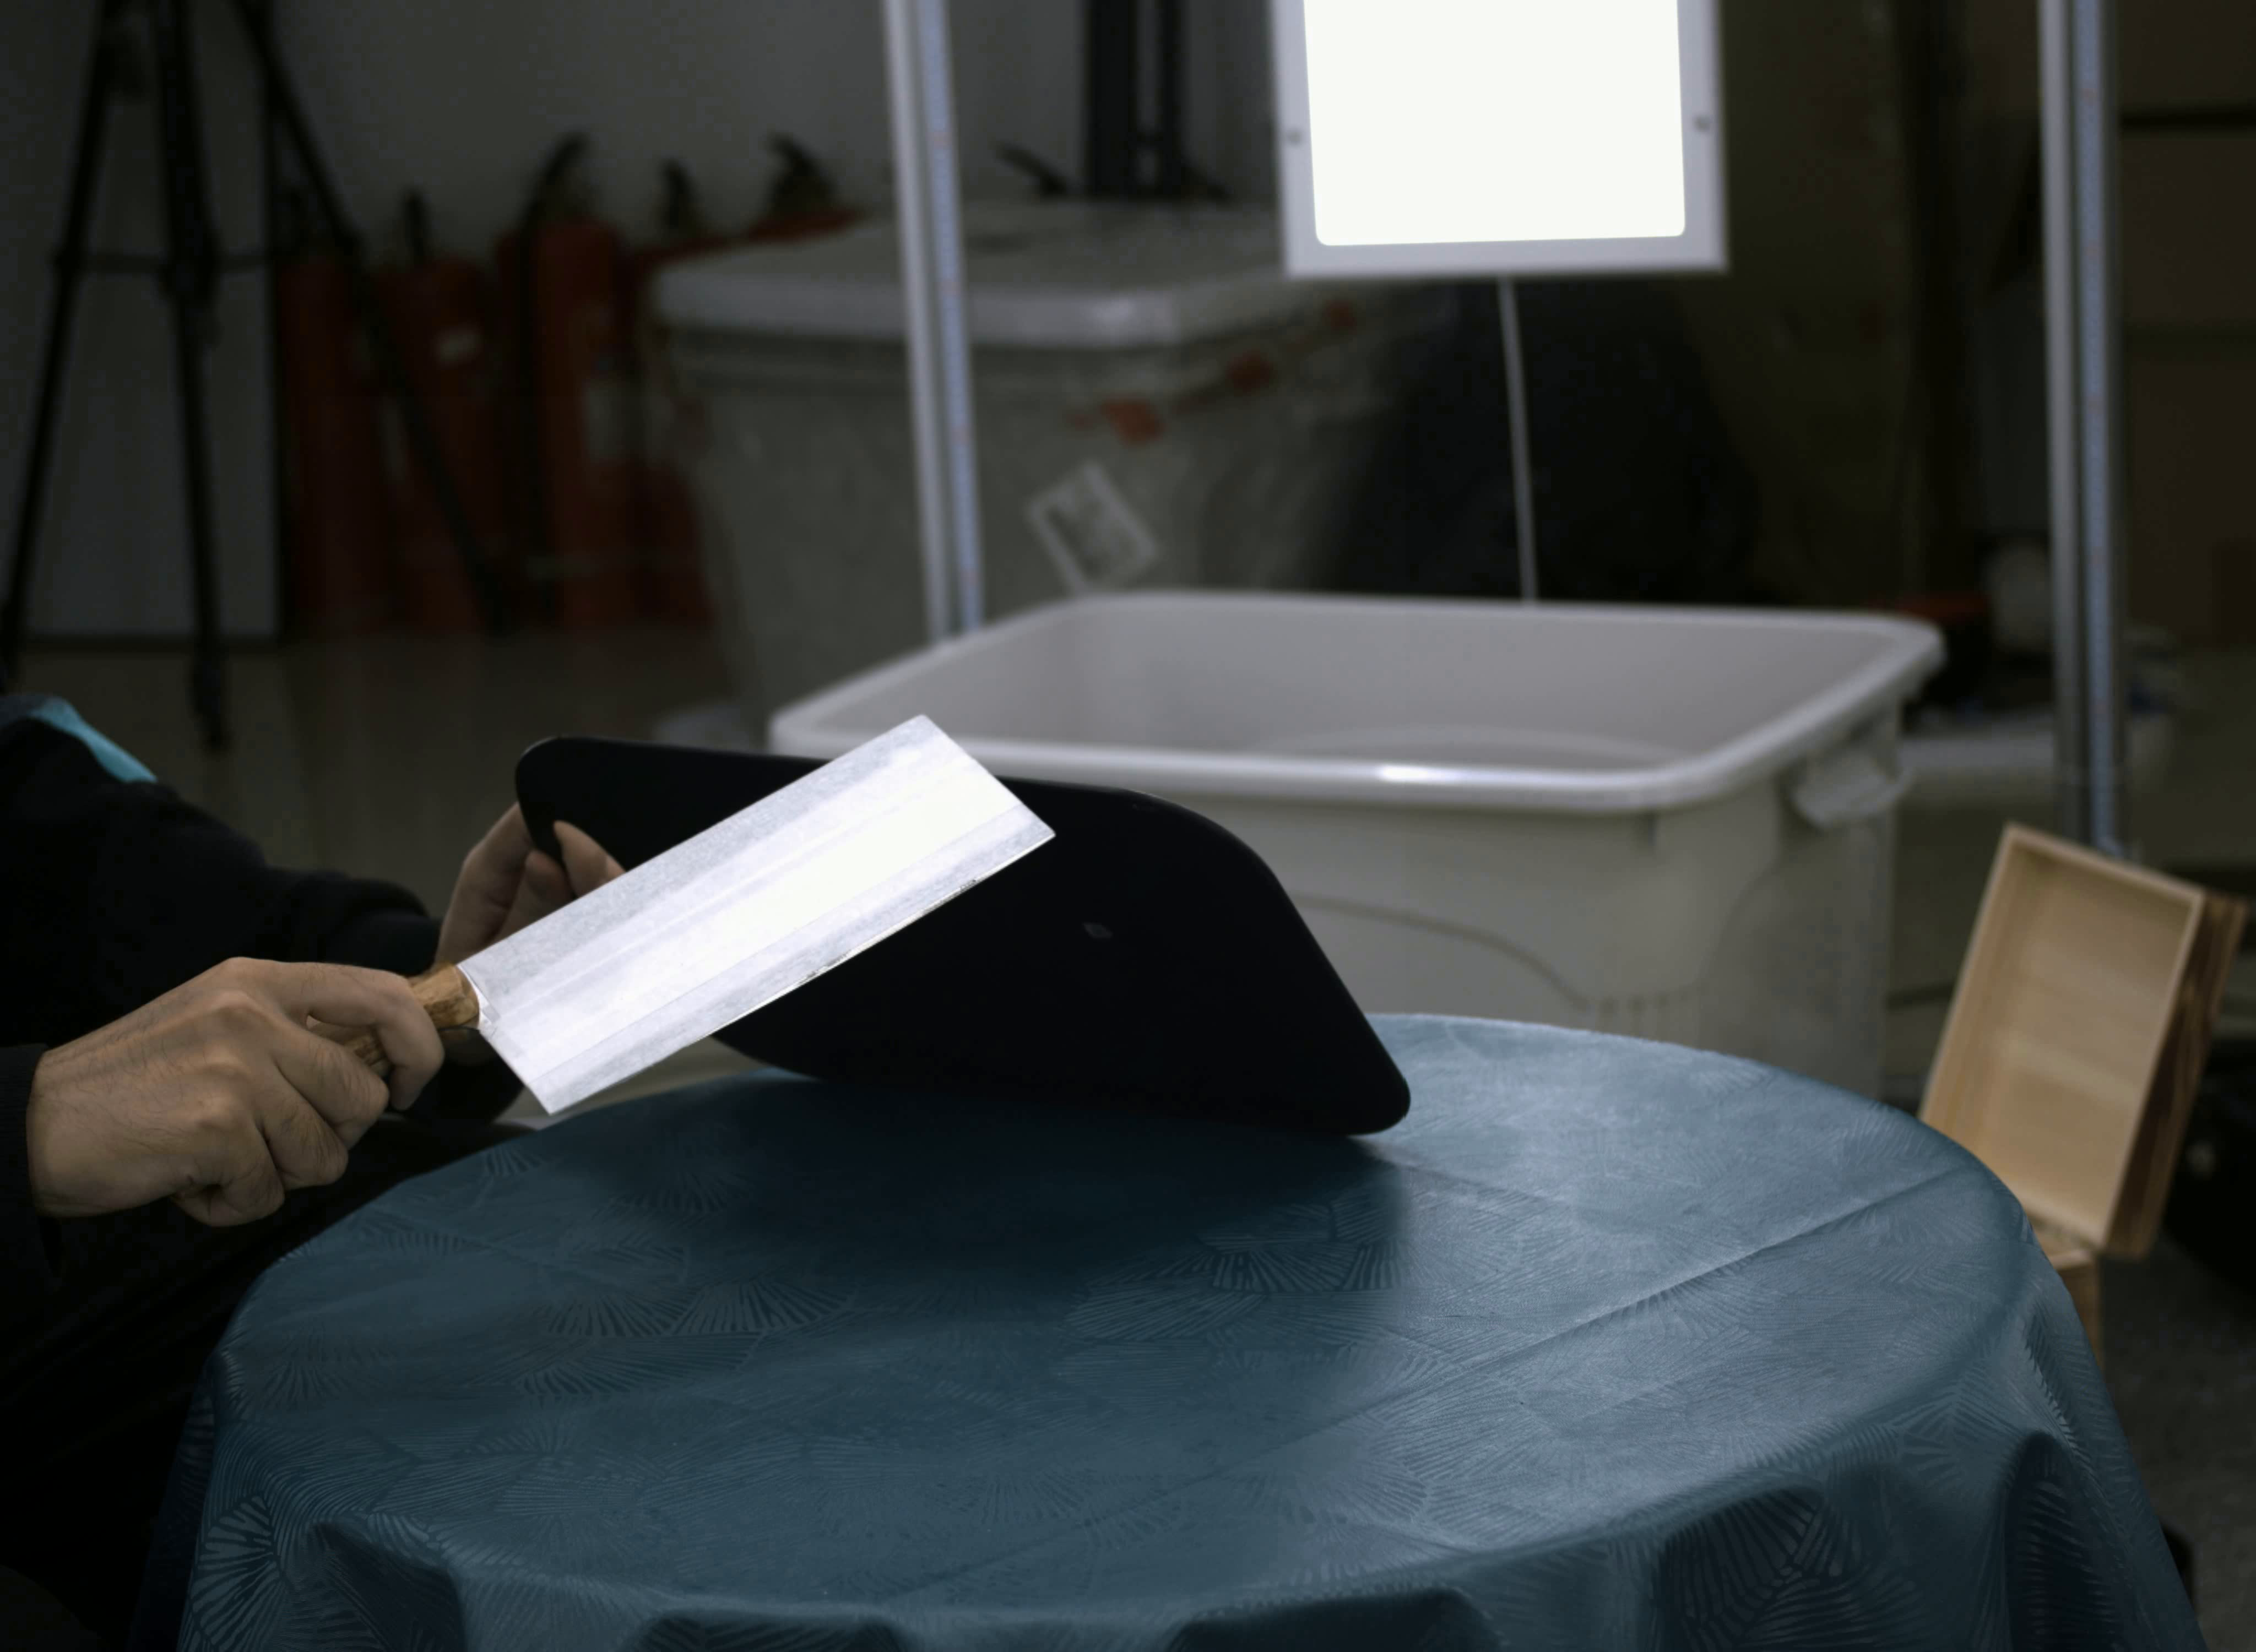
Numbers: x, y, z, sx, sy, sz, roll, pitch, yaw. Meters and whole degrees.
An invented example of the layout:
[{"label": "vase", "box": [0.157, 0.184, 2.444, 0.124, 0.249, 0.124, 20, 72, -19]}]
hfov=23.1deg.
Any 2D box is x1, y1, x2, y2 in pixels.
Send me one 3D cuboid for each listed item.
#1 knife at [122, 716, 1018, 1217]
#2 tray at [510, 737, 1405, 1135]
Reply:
[{"label": "knife", "box": [-0.173, 0.052, 1.763, 0.302, 0.021, 0.094, -29, 40, -14]}, {"label": "tray", "box": [-0.068, 0.037, 1.933, 0.332, 0.209, 0.009, 5, 56, 33]}]
